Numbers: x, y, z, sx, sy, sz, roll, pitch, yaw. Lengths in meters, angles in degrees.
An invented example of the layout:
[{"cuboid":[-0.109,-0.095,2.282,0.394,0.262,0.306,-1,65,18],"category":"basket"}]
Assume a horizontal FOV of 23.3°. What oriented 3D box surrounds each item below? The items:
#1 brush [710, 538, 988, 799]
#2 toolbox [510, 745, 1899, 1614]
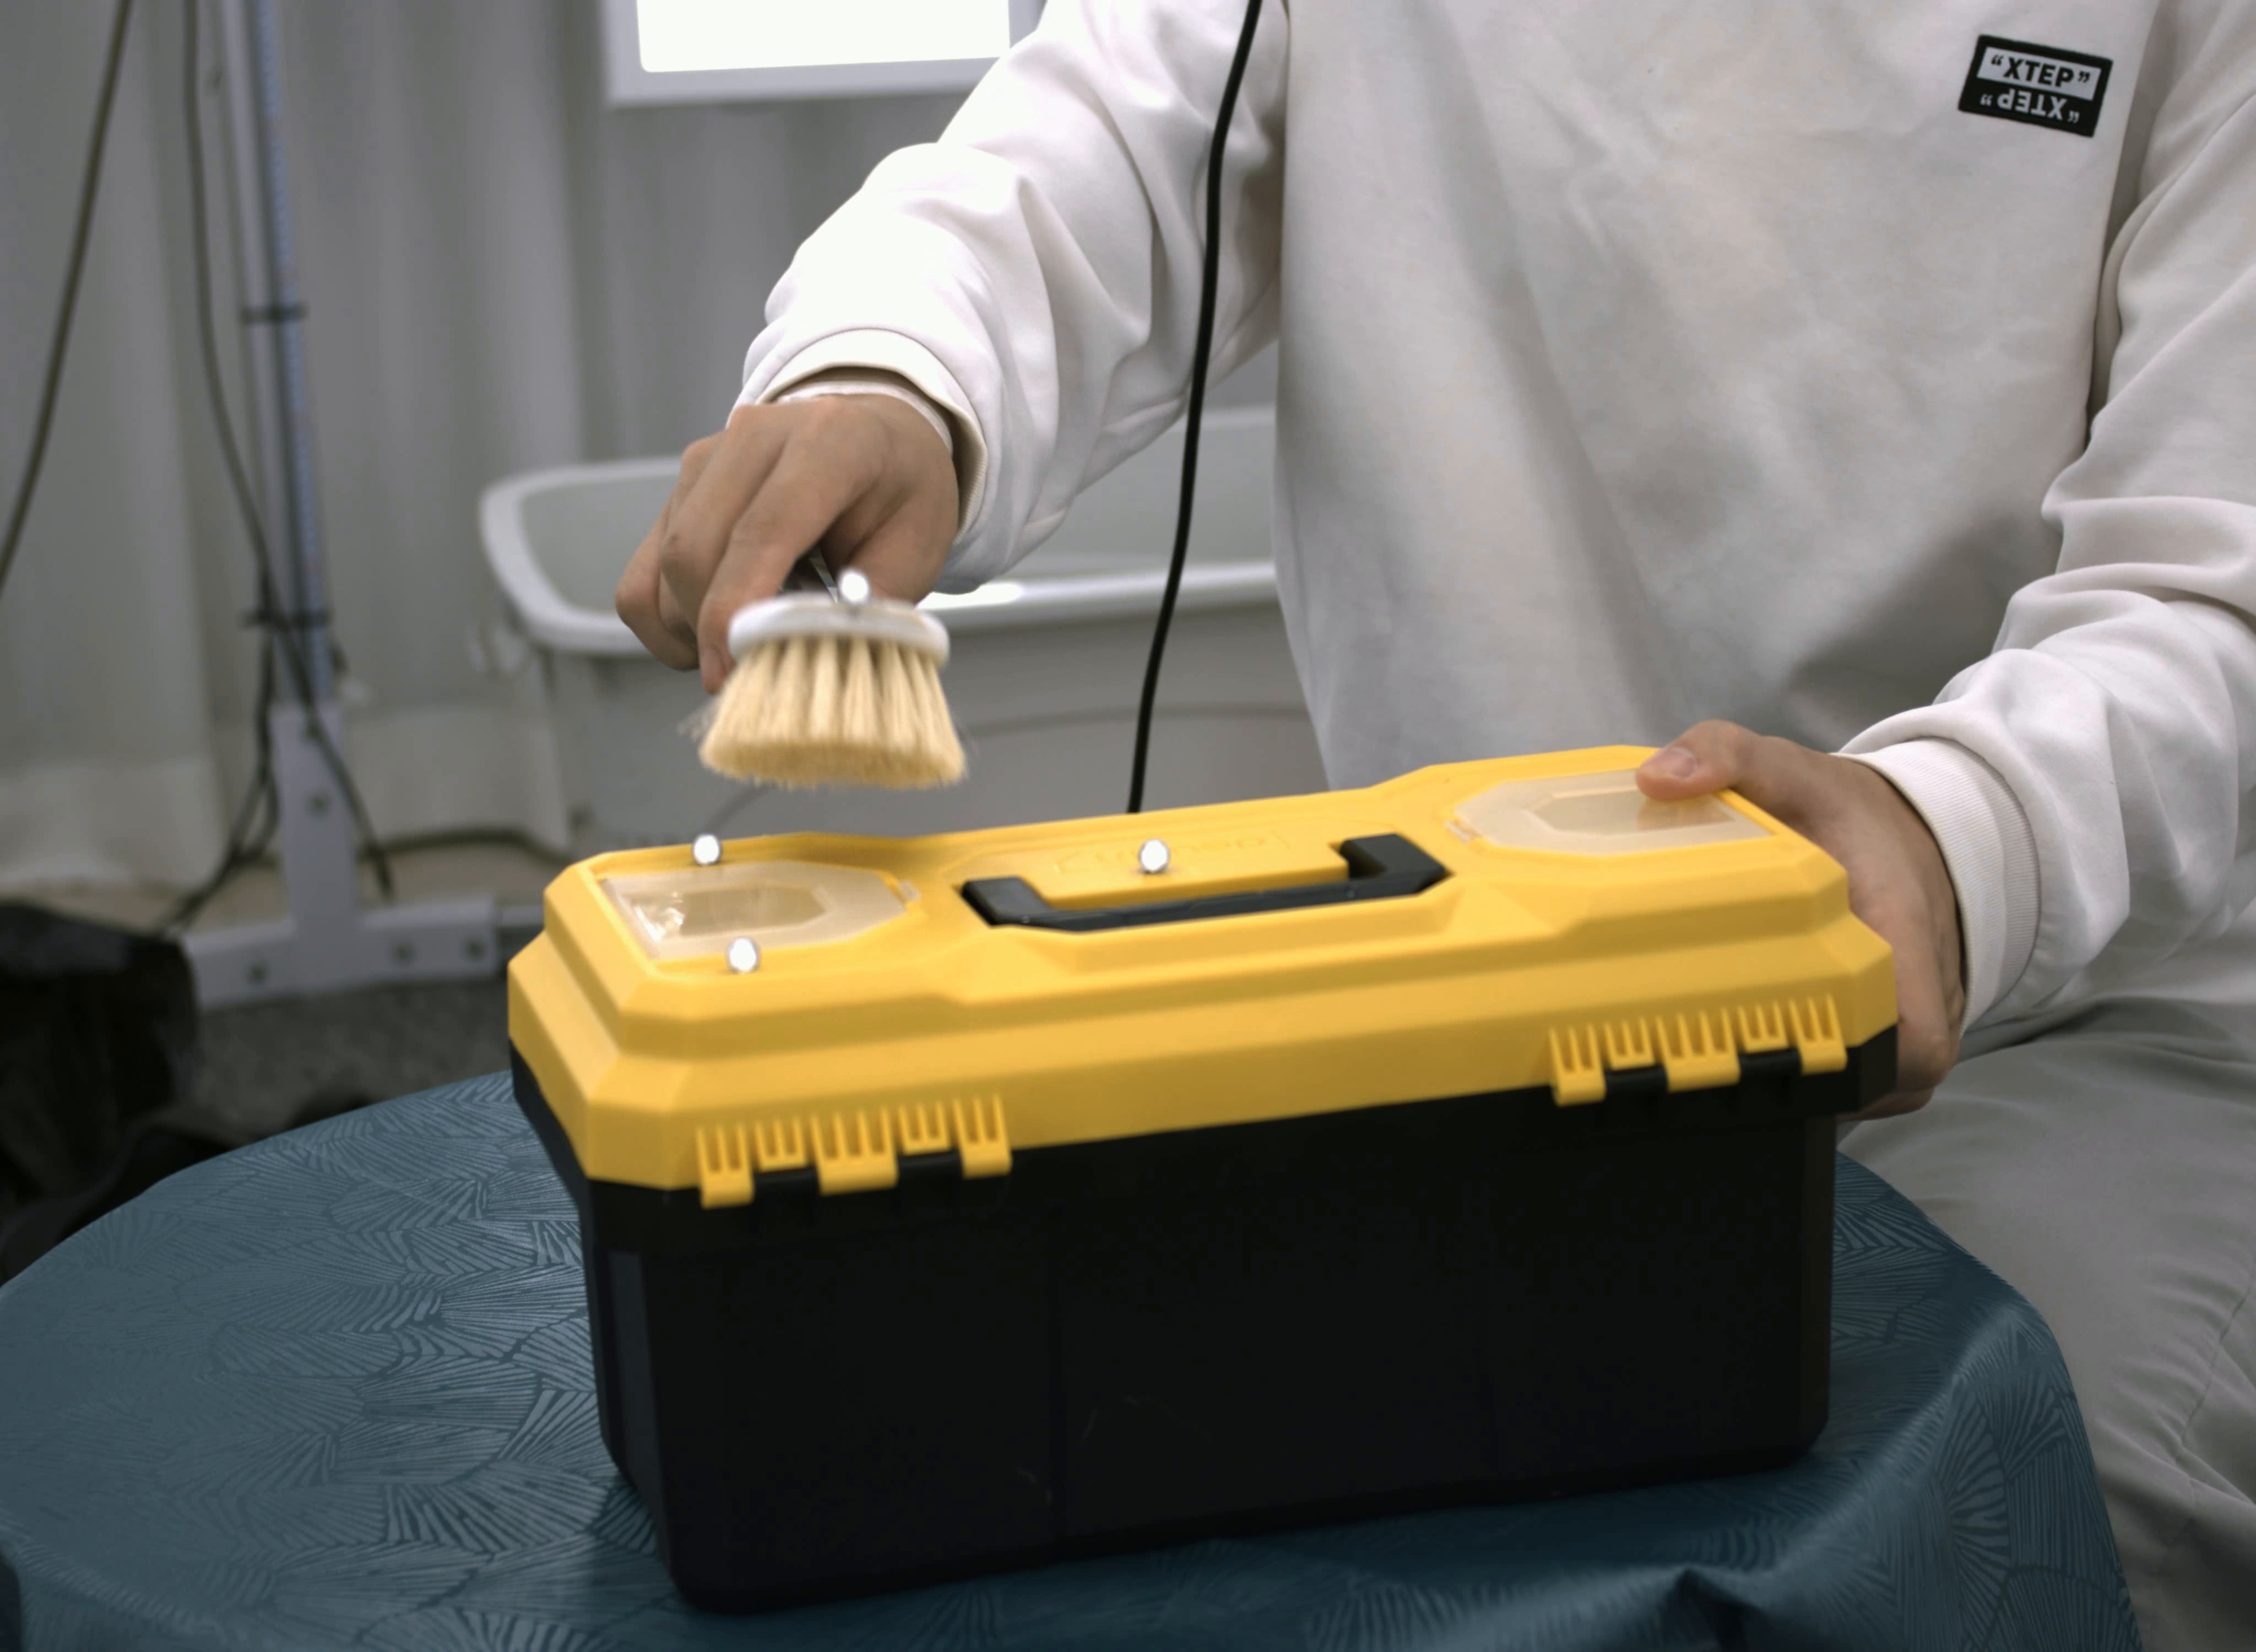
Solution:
[{"cuboid":[-0.090,-0.046,1.566,0.068,0.056,0.268,10,4,-14],"category":"brush"},{"cuboid":[0.019,0.090,1.473,0.350,0.172,0.183,-6,15,-14],"category":"toolbox"}]
